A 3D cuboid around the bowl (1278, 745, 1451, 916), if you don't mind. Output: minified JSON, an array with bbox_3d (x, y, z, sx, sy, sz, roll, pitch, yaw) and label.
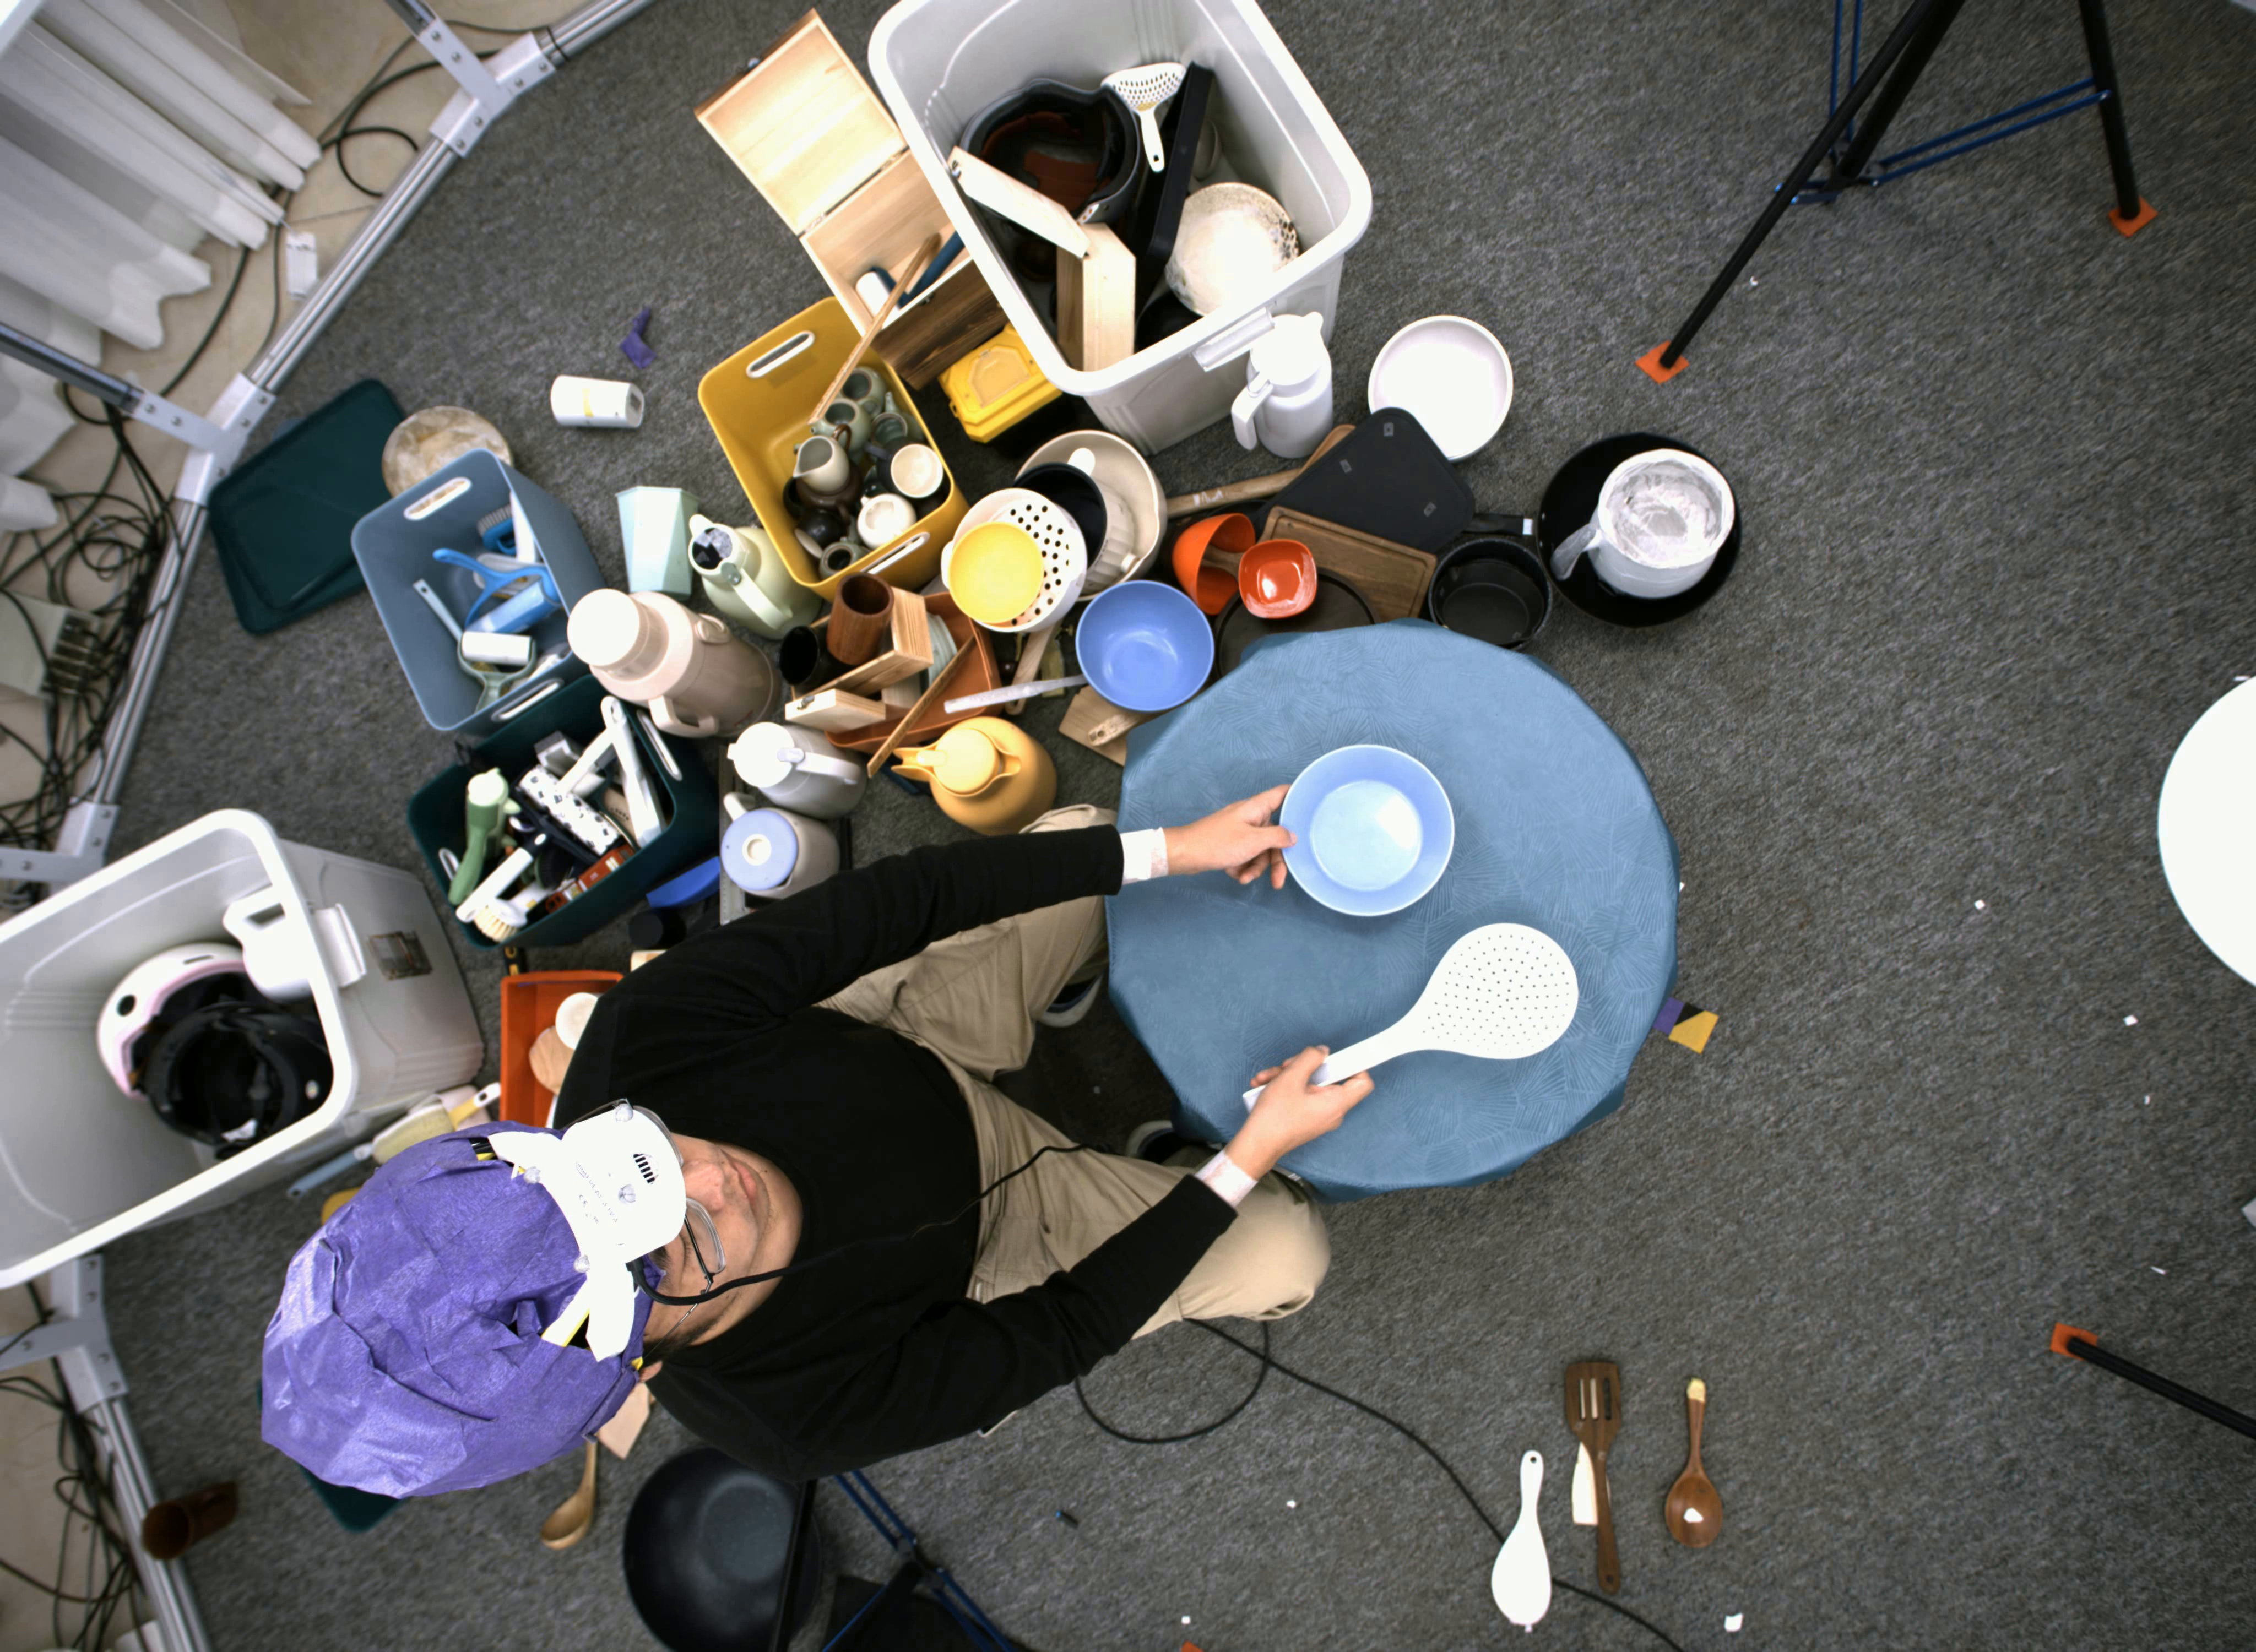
[{"bbox_3d":[0.245,0.006,1.433,0.177,0.070,0.175,-1,87,11],"label":"bowl"}]

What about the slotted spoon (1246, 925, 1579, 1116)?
[{"bbox_3d":[0.282,0.210,1.386,0.351,0.046,0.134,-24,67,3],"label":"slotted spoon"}]
